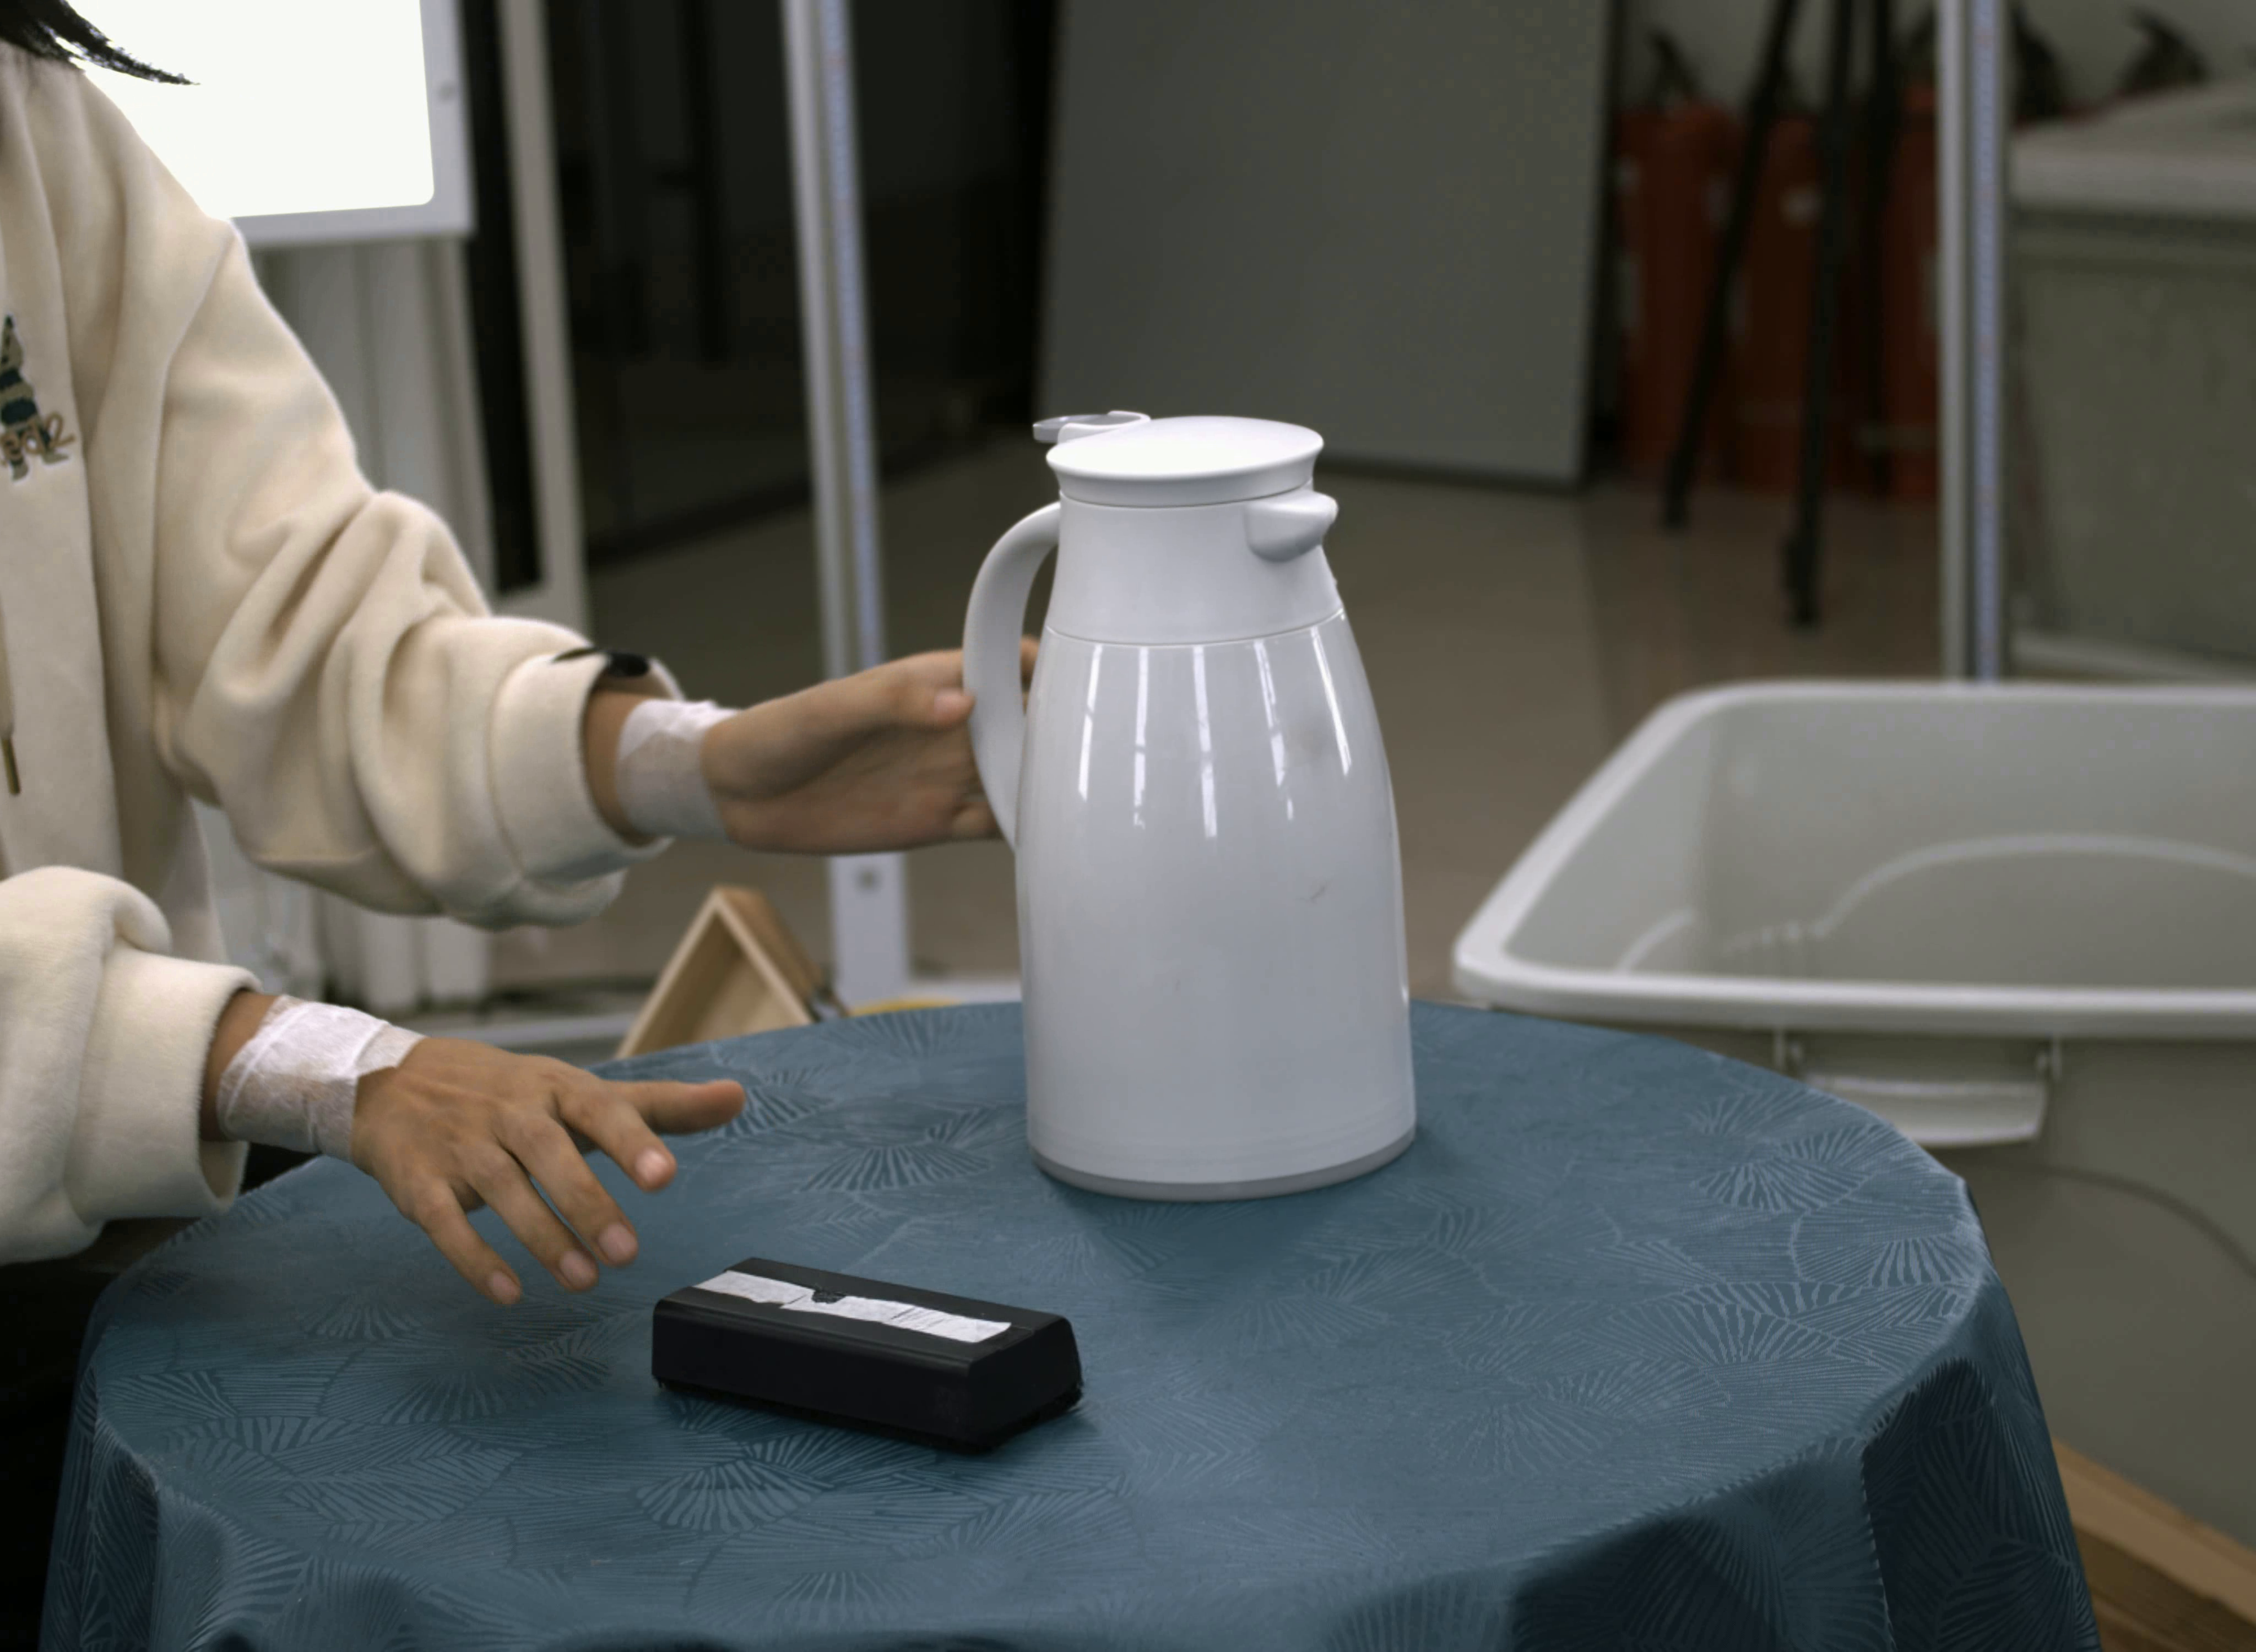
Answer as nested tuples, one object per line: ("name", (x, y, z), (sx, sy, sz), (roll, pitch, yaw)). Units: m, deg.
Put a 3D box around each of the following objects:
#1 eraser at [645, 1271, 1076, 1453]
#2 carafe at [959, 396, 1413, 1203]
("eraser", (-0.078, 0.157, 1.589), (0.126, 0.031, 0.052), (6, 14, 36))
("carafe", (0.010, -0.016, 1.800), (0.169, 0.251, 0.130), (8, 18, 44))
